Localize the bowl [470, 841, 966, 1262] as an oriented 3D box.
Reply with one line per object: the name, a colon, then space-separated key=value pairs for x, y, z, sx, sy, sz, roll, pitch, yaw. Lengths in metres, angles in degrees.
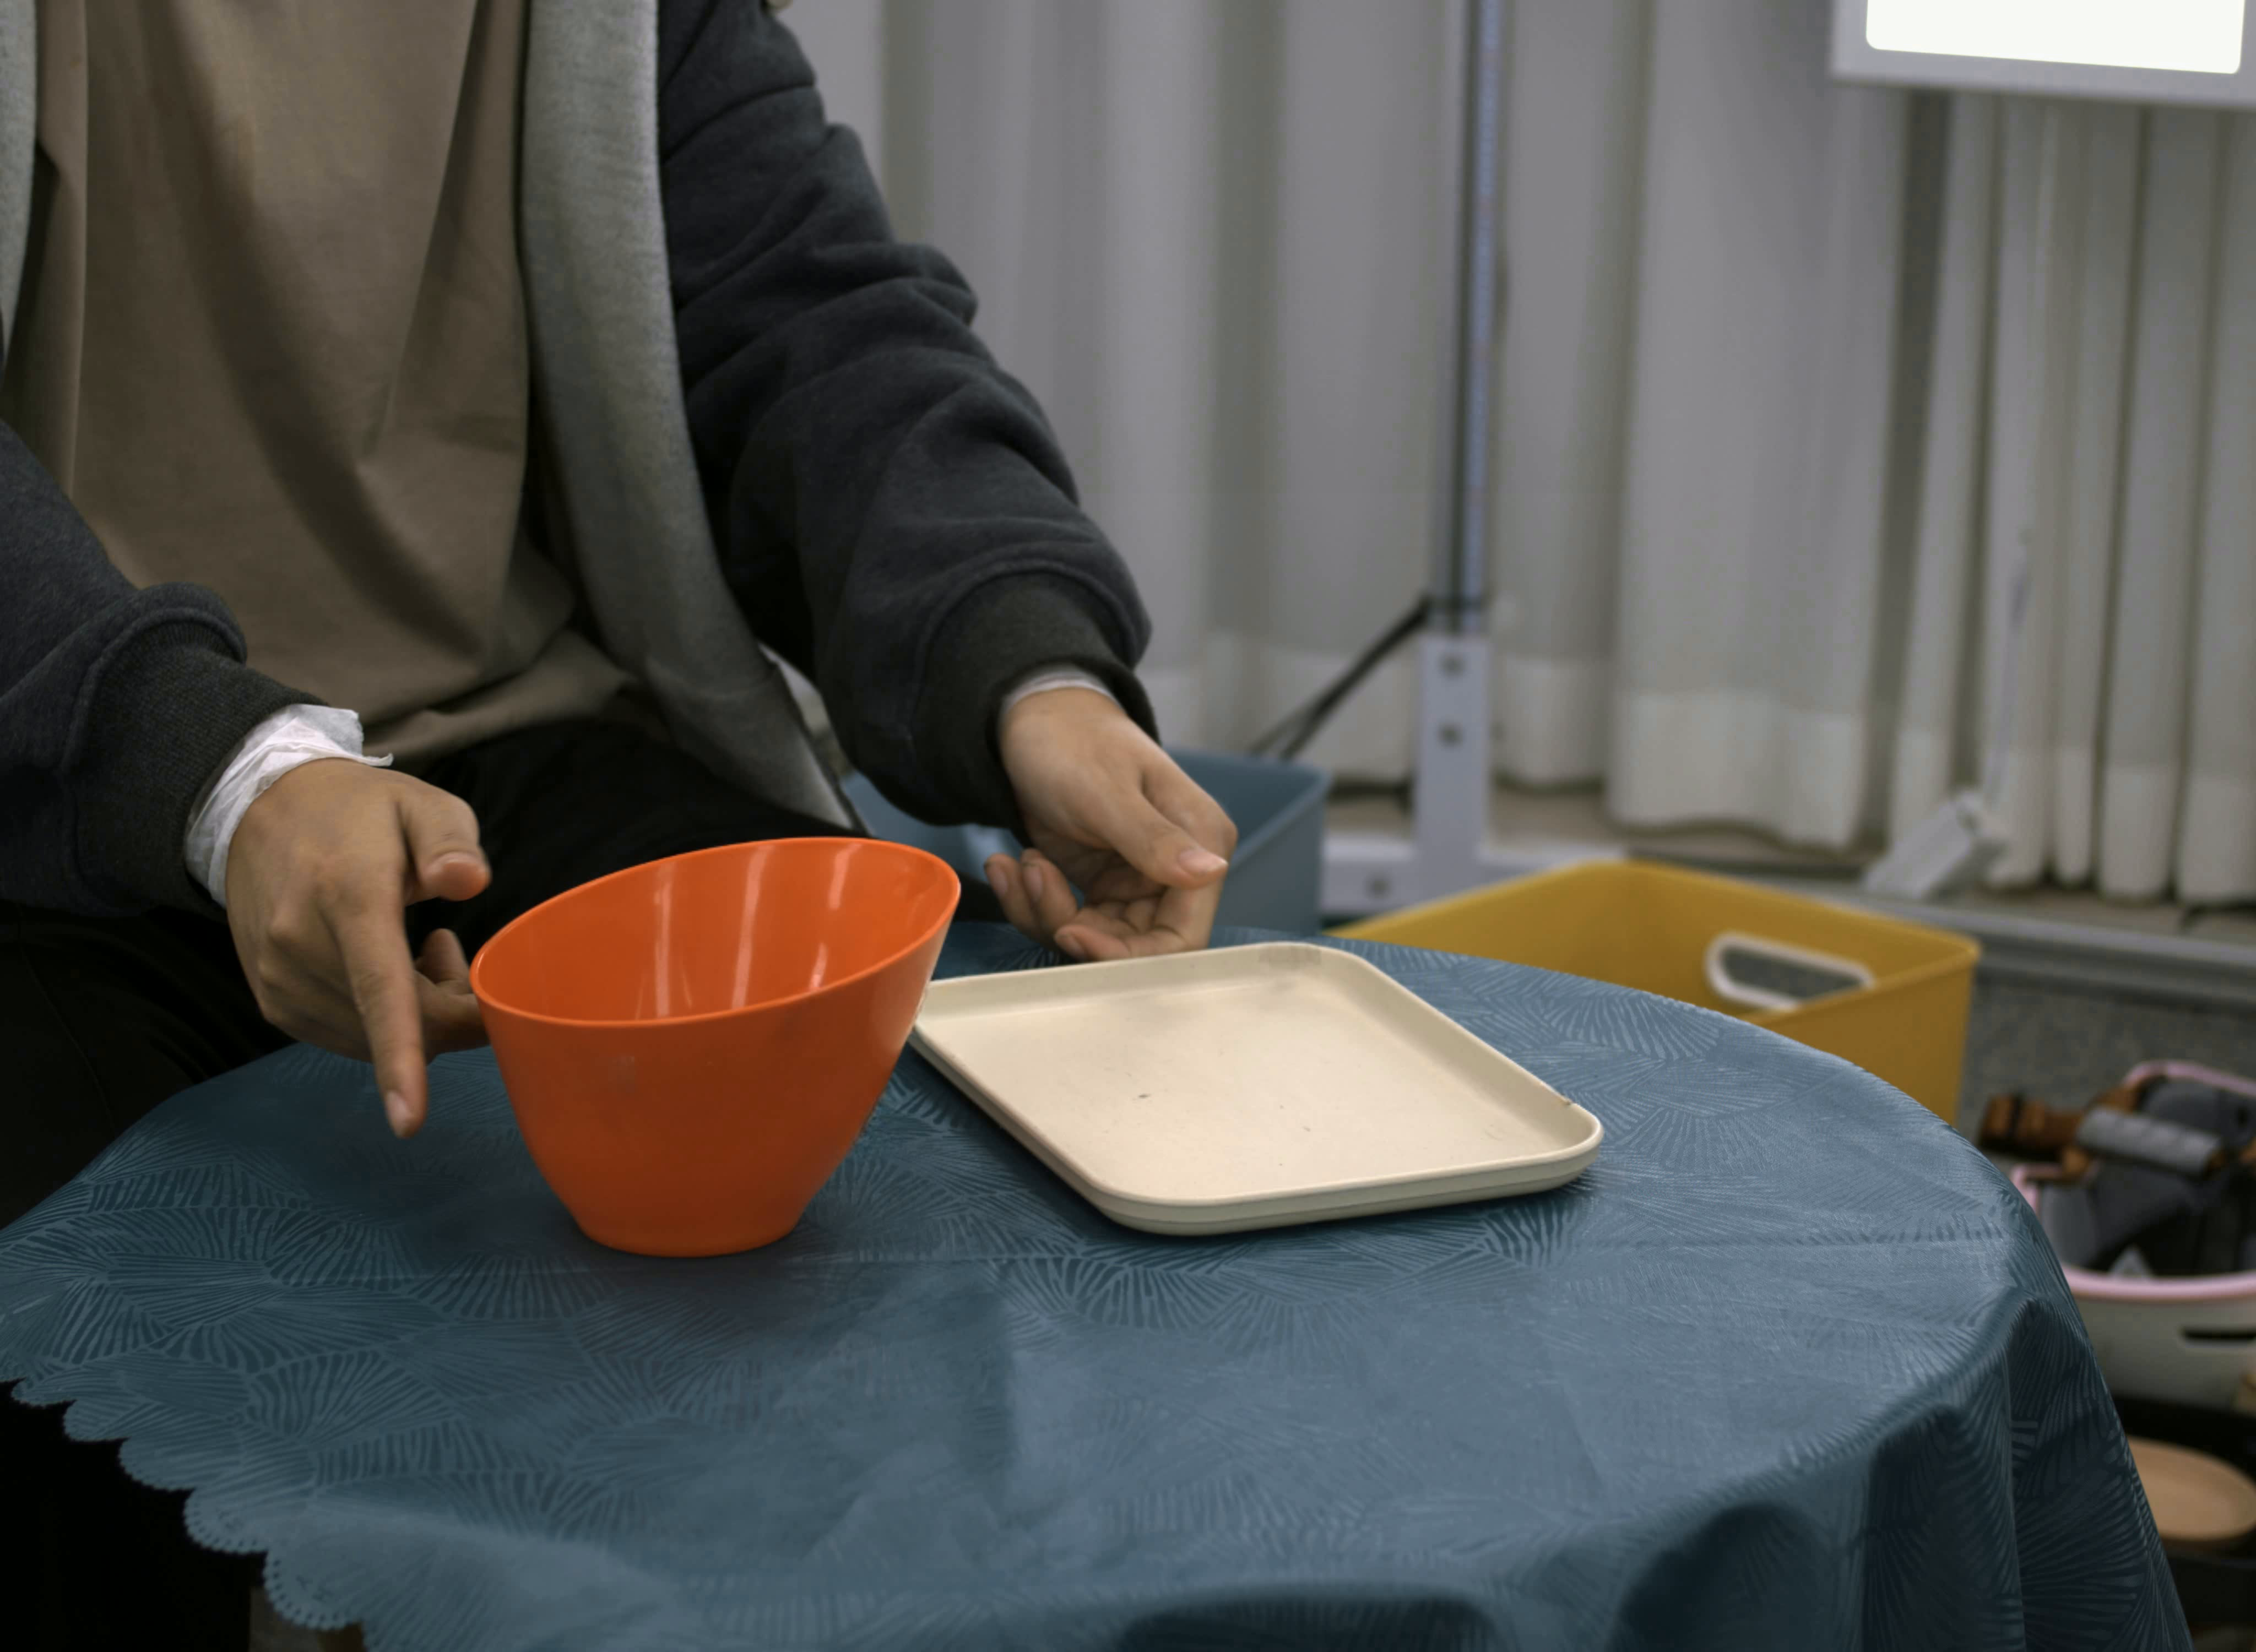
bowl: x=-0.123 y=0.070 z=1.581 sx=0.147 sy=0.105 sz=0.147 roll=2 pitch=17 yaw=0

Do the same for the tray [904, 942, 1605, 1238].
tray: x=0.035 y=0.083 z=1.695 sx=0.172 sy=0.017 sz=0.237 roll=-6 pitch=17 yaw=-21
